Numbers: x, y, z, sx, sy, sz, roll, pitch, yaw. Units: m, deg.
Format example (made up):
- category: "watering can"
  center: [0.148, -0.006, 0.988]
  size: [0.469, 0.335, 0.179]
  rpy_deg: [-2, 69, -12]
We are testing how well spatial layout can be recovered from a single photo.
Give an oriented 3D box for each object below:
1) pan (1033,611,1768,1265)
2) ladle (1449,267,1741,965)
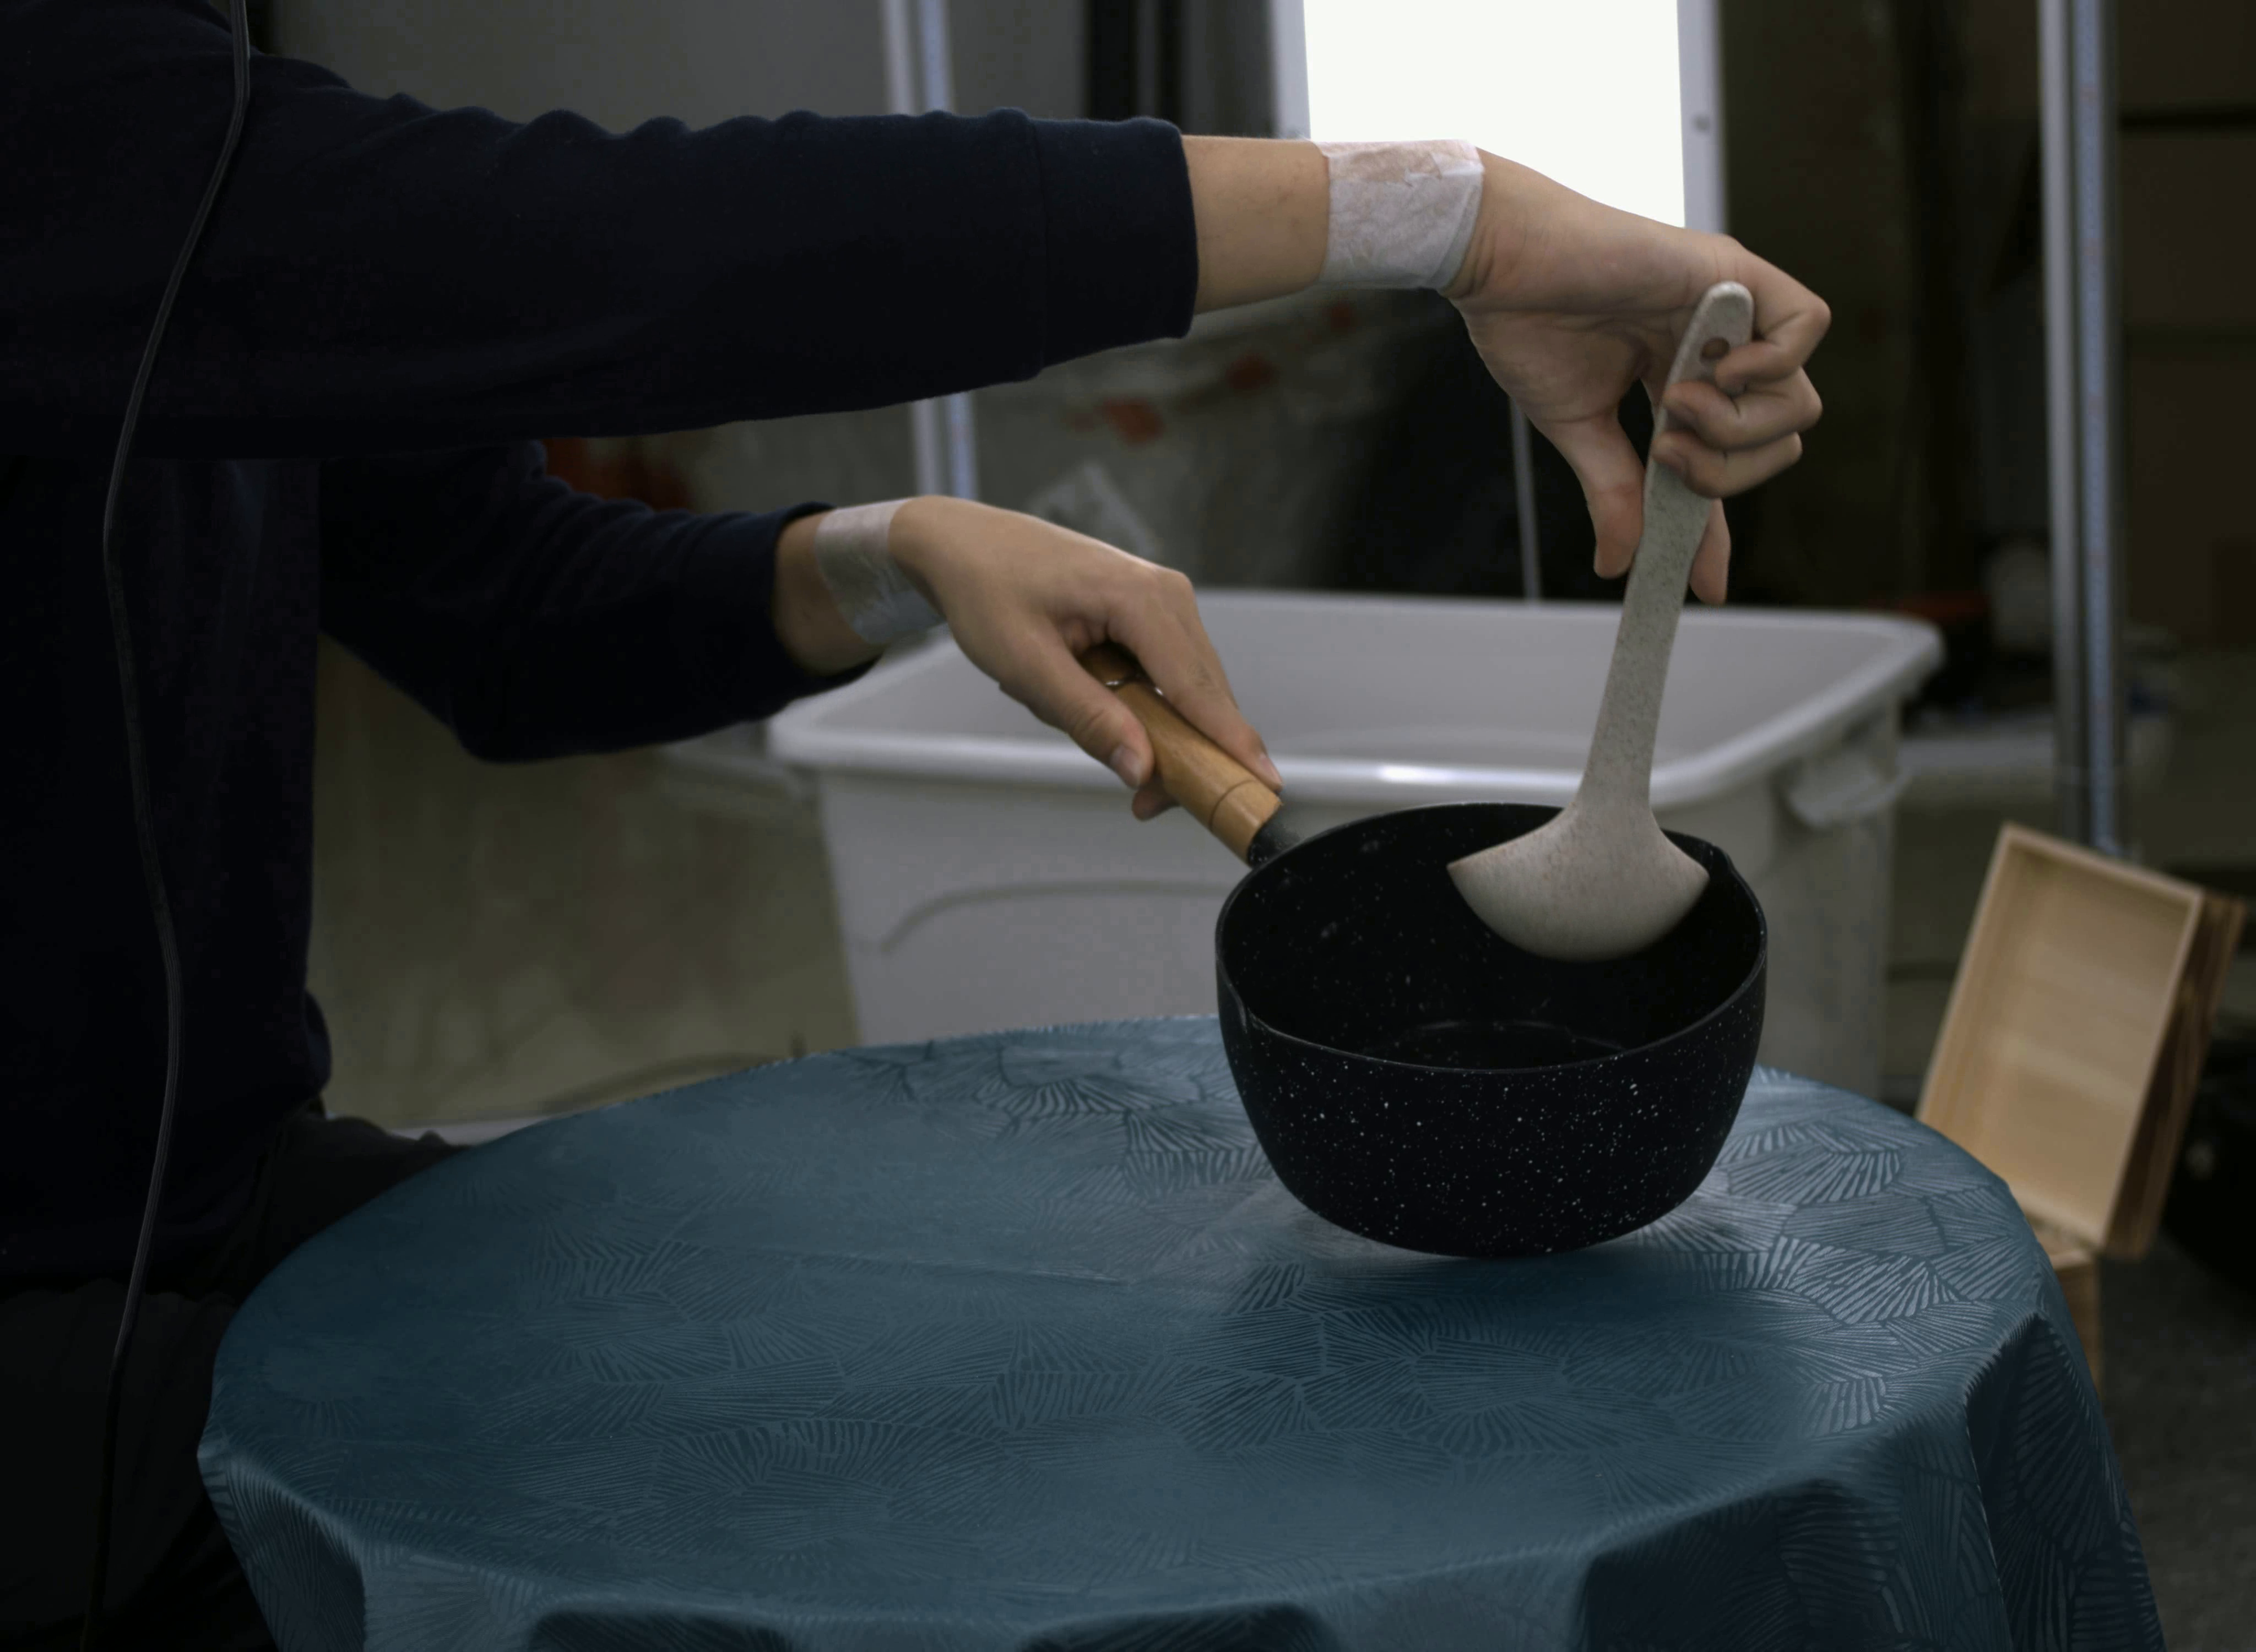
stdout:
- category: "pan"
  center: [0.073, 0.032, 1.891]
  size: [0.203, 0.109, 0.349]
  rpy_deg: [-23, 35, -29]
- category: "ladle"
  center: [0.165, -0.074, 1.794]
  size: [0.089, 0.277, 0.069]
  rpy_deg: [5, 33, -4]
